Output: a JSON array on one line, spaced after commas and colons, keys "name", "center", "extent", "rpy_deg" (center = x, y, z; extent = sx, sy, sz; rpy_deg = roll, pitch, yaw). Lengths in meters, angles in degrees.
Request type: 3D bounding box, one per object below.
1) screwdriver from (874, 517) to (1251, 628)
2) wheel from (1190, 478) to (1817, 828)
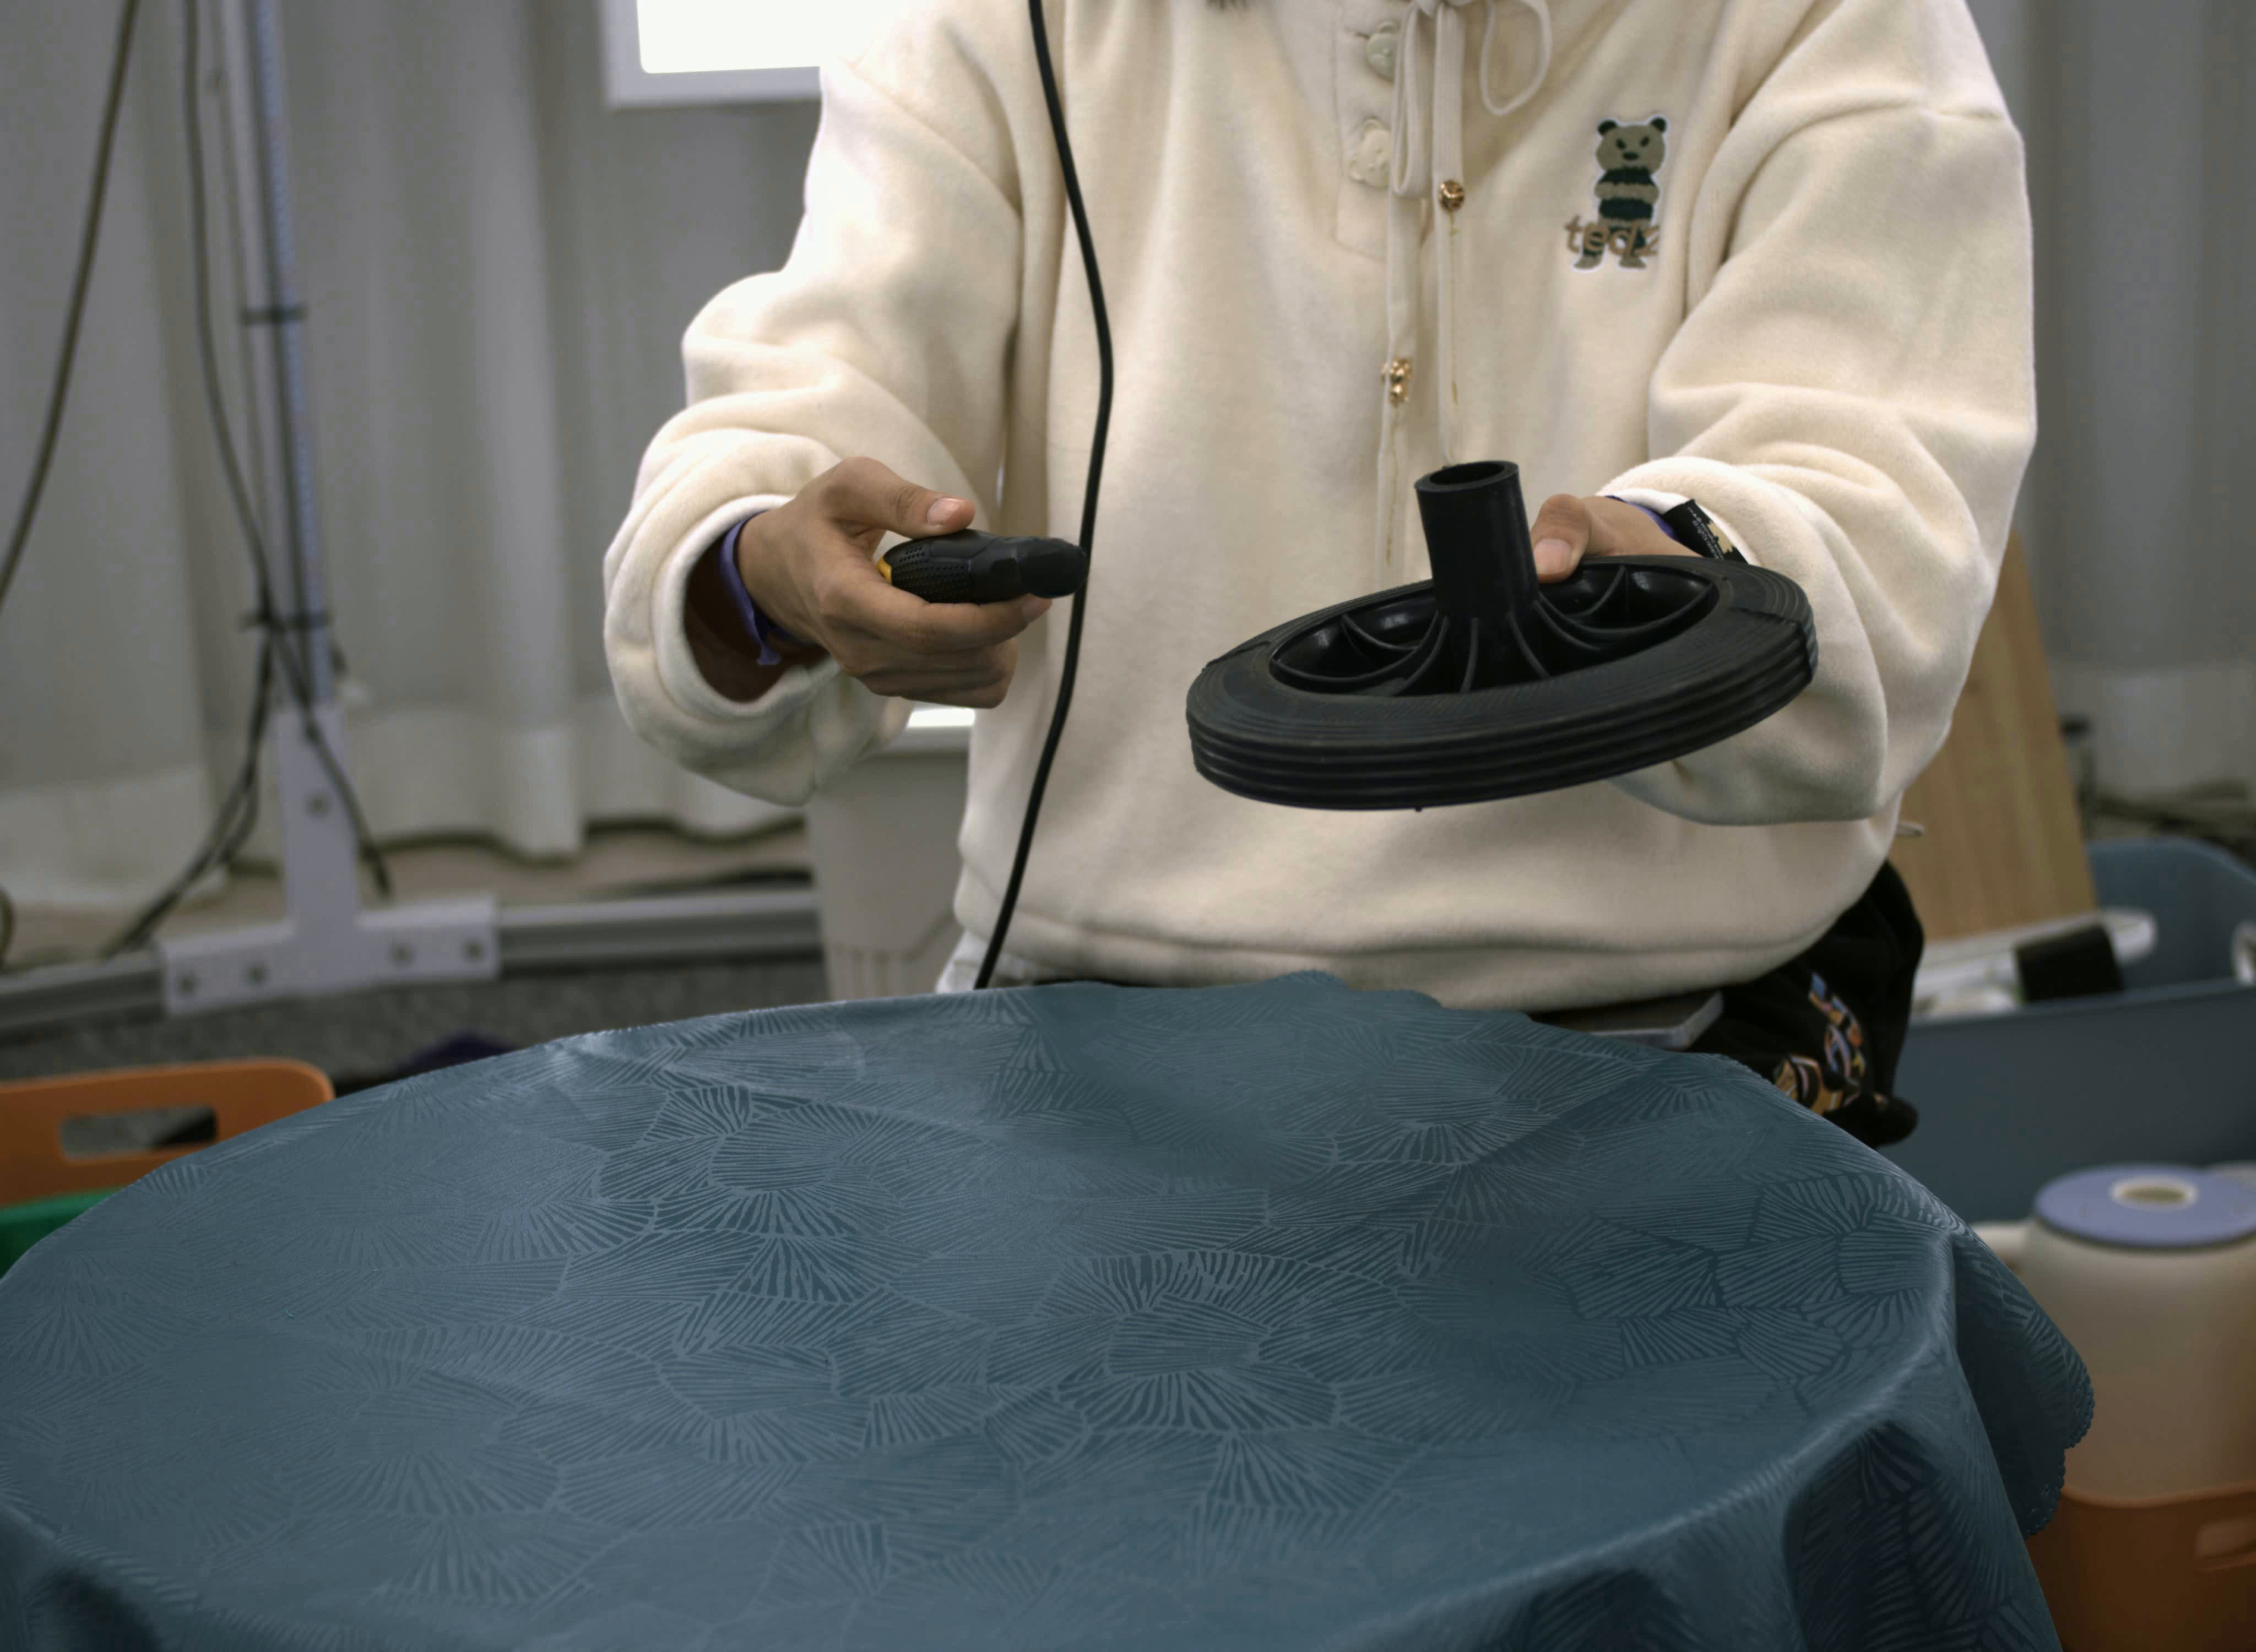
[{"name": "screwdriver", "center": [-0.020, -0.081, 1.748], "extent": [0.031, 0.031, 0.198], "rpy_deg": [-13, 7, -35]}, {"name": "wheel", "center": [0.106, -0.060, 1.615], "extent": [0.189, 0.079, 0.188], "rpy_deg": [-21, 19, -29]}]
